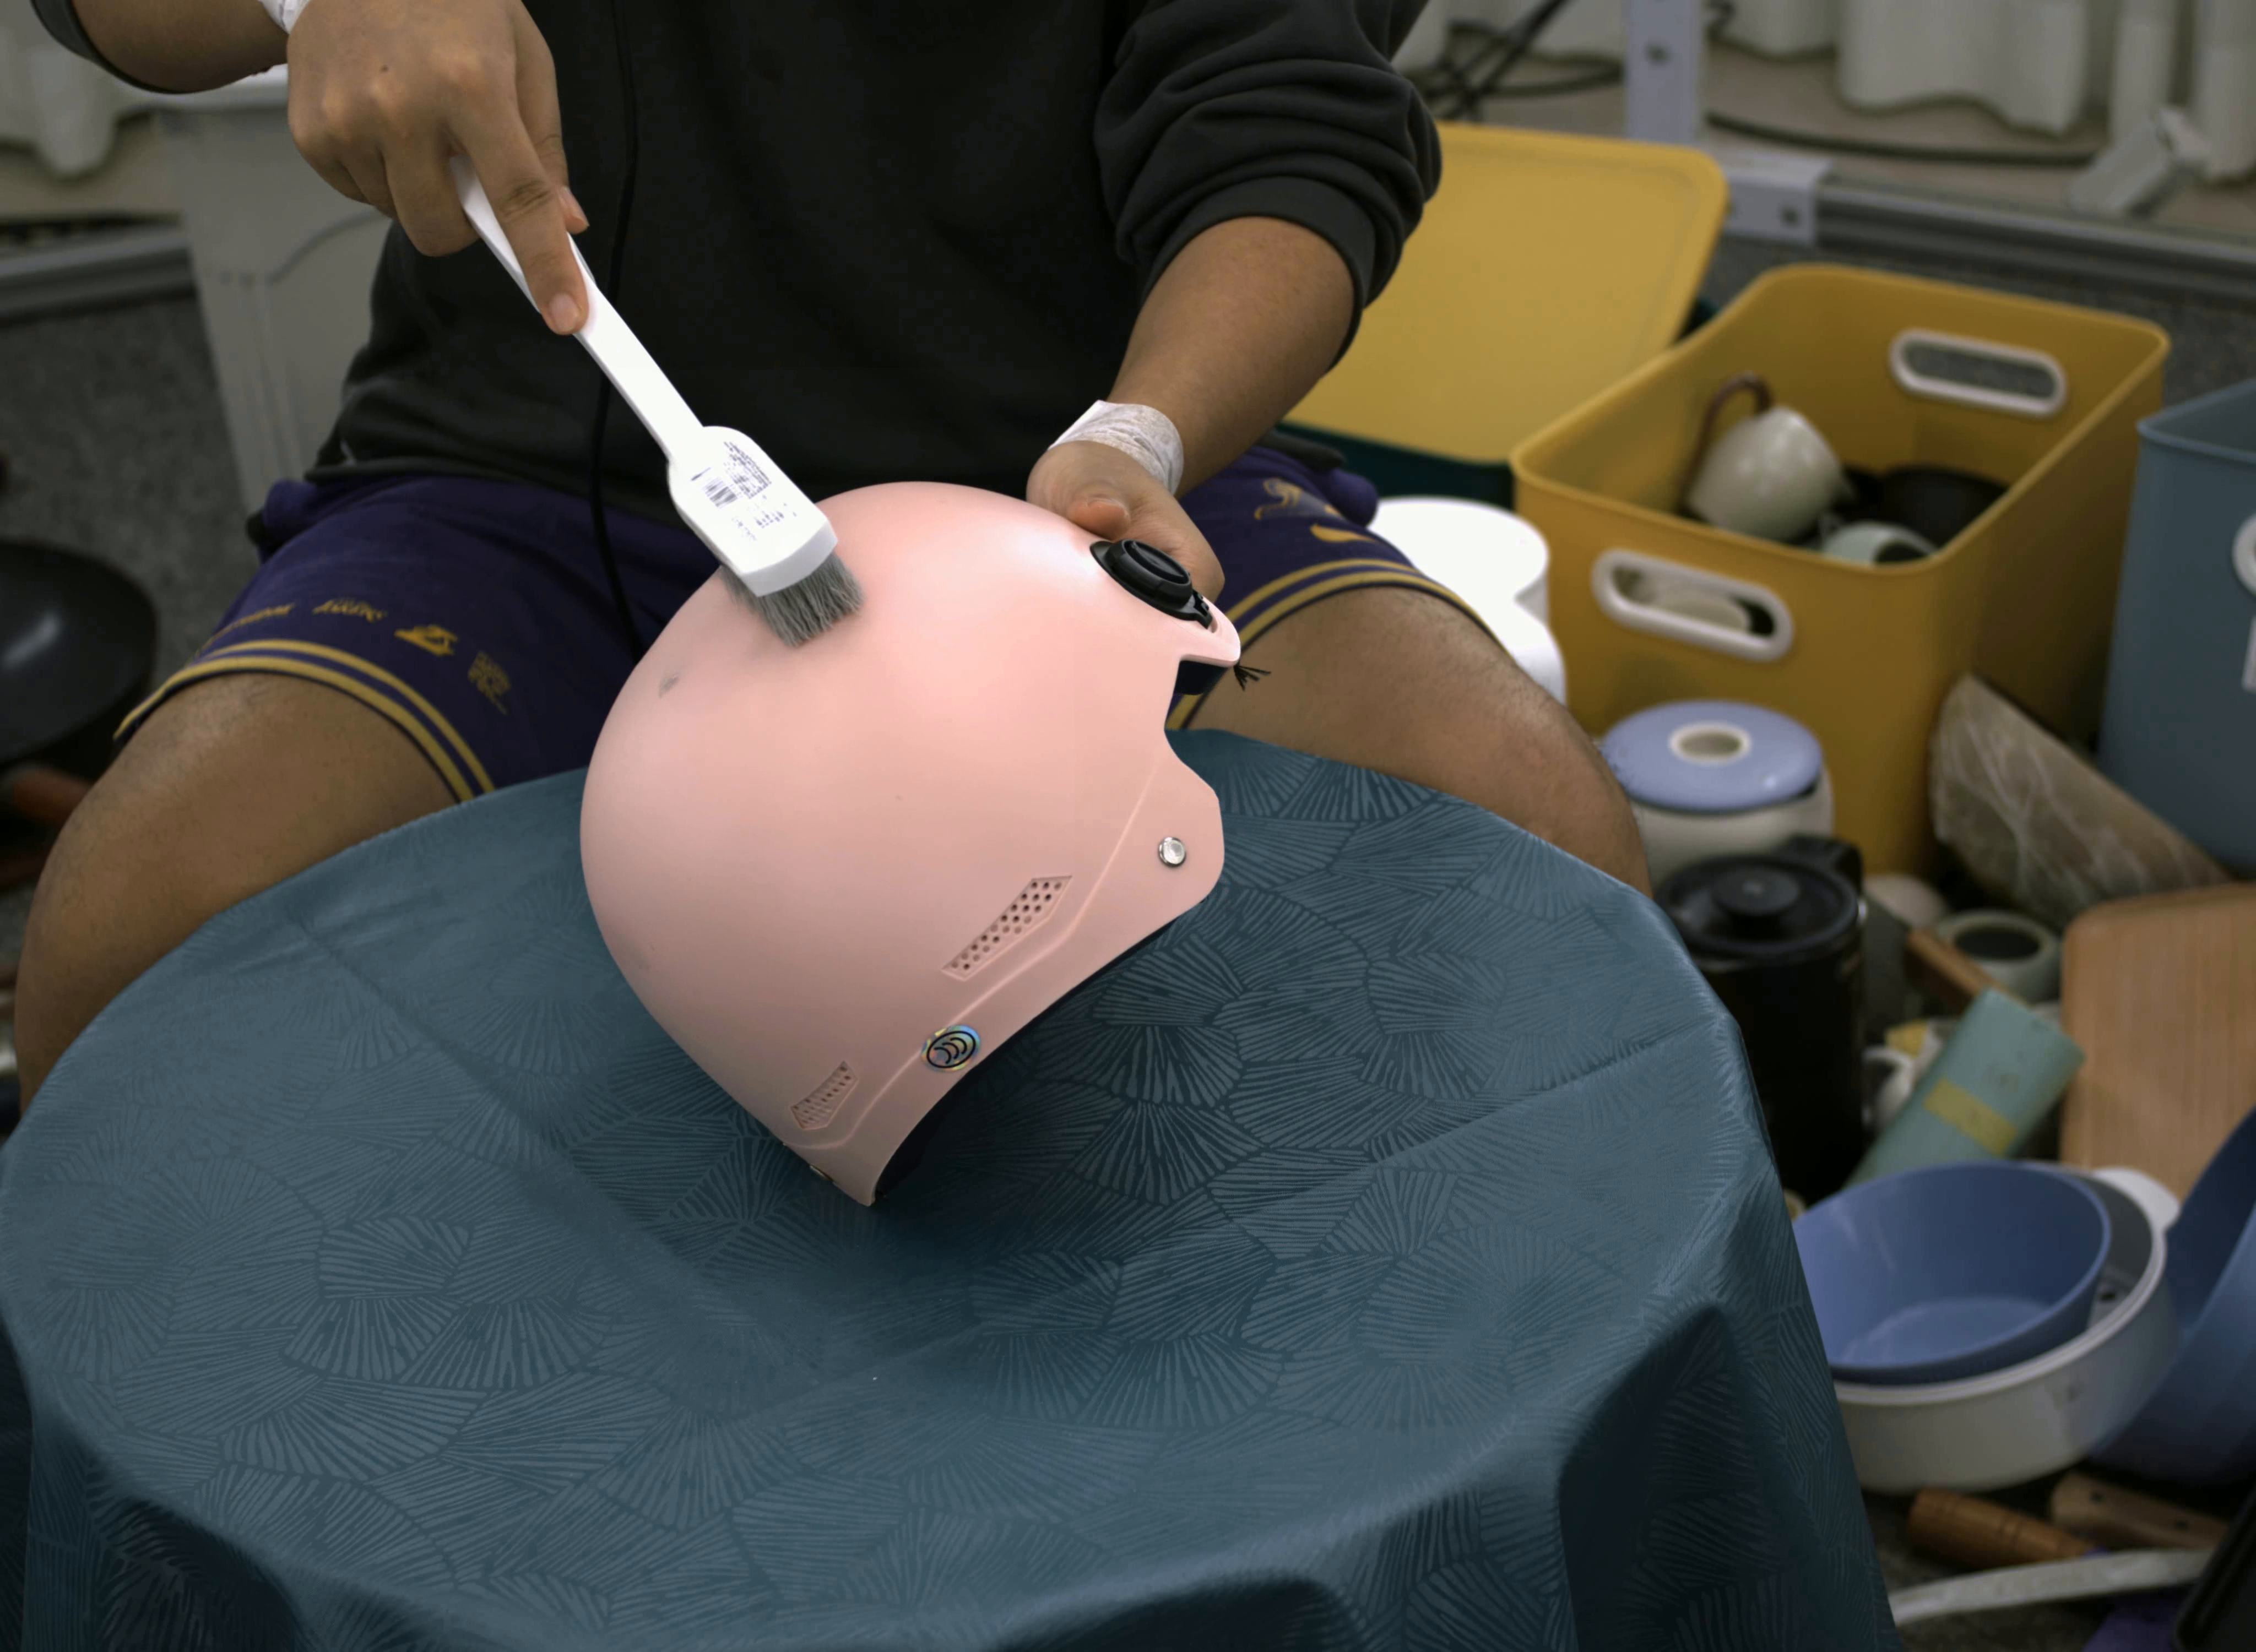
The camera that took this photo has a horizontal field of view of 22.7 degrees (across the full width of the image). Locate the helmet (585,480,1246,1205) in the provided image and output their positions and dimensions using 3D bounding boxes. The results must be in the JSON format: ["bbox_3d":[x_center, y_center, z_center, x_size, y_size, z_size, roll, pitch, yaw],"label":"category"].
[{"bbox_3d":[-0.089,-0.021,1.873,0.158,0.231,0.270,37,25,-21],"label":"helmet"}]

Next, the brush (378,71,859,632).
[{"bbox_3d":[-0.167,-0.154,1.830,0.034,0.049,0.245,-35,63,-12],"label":"brush"}]
